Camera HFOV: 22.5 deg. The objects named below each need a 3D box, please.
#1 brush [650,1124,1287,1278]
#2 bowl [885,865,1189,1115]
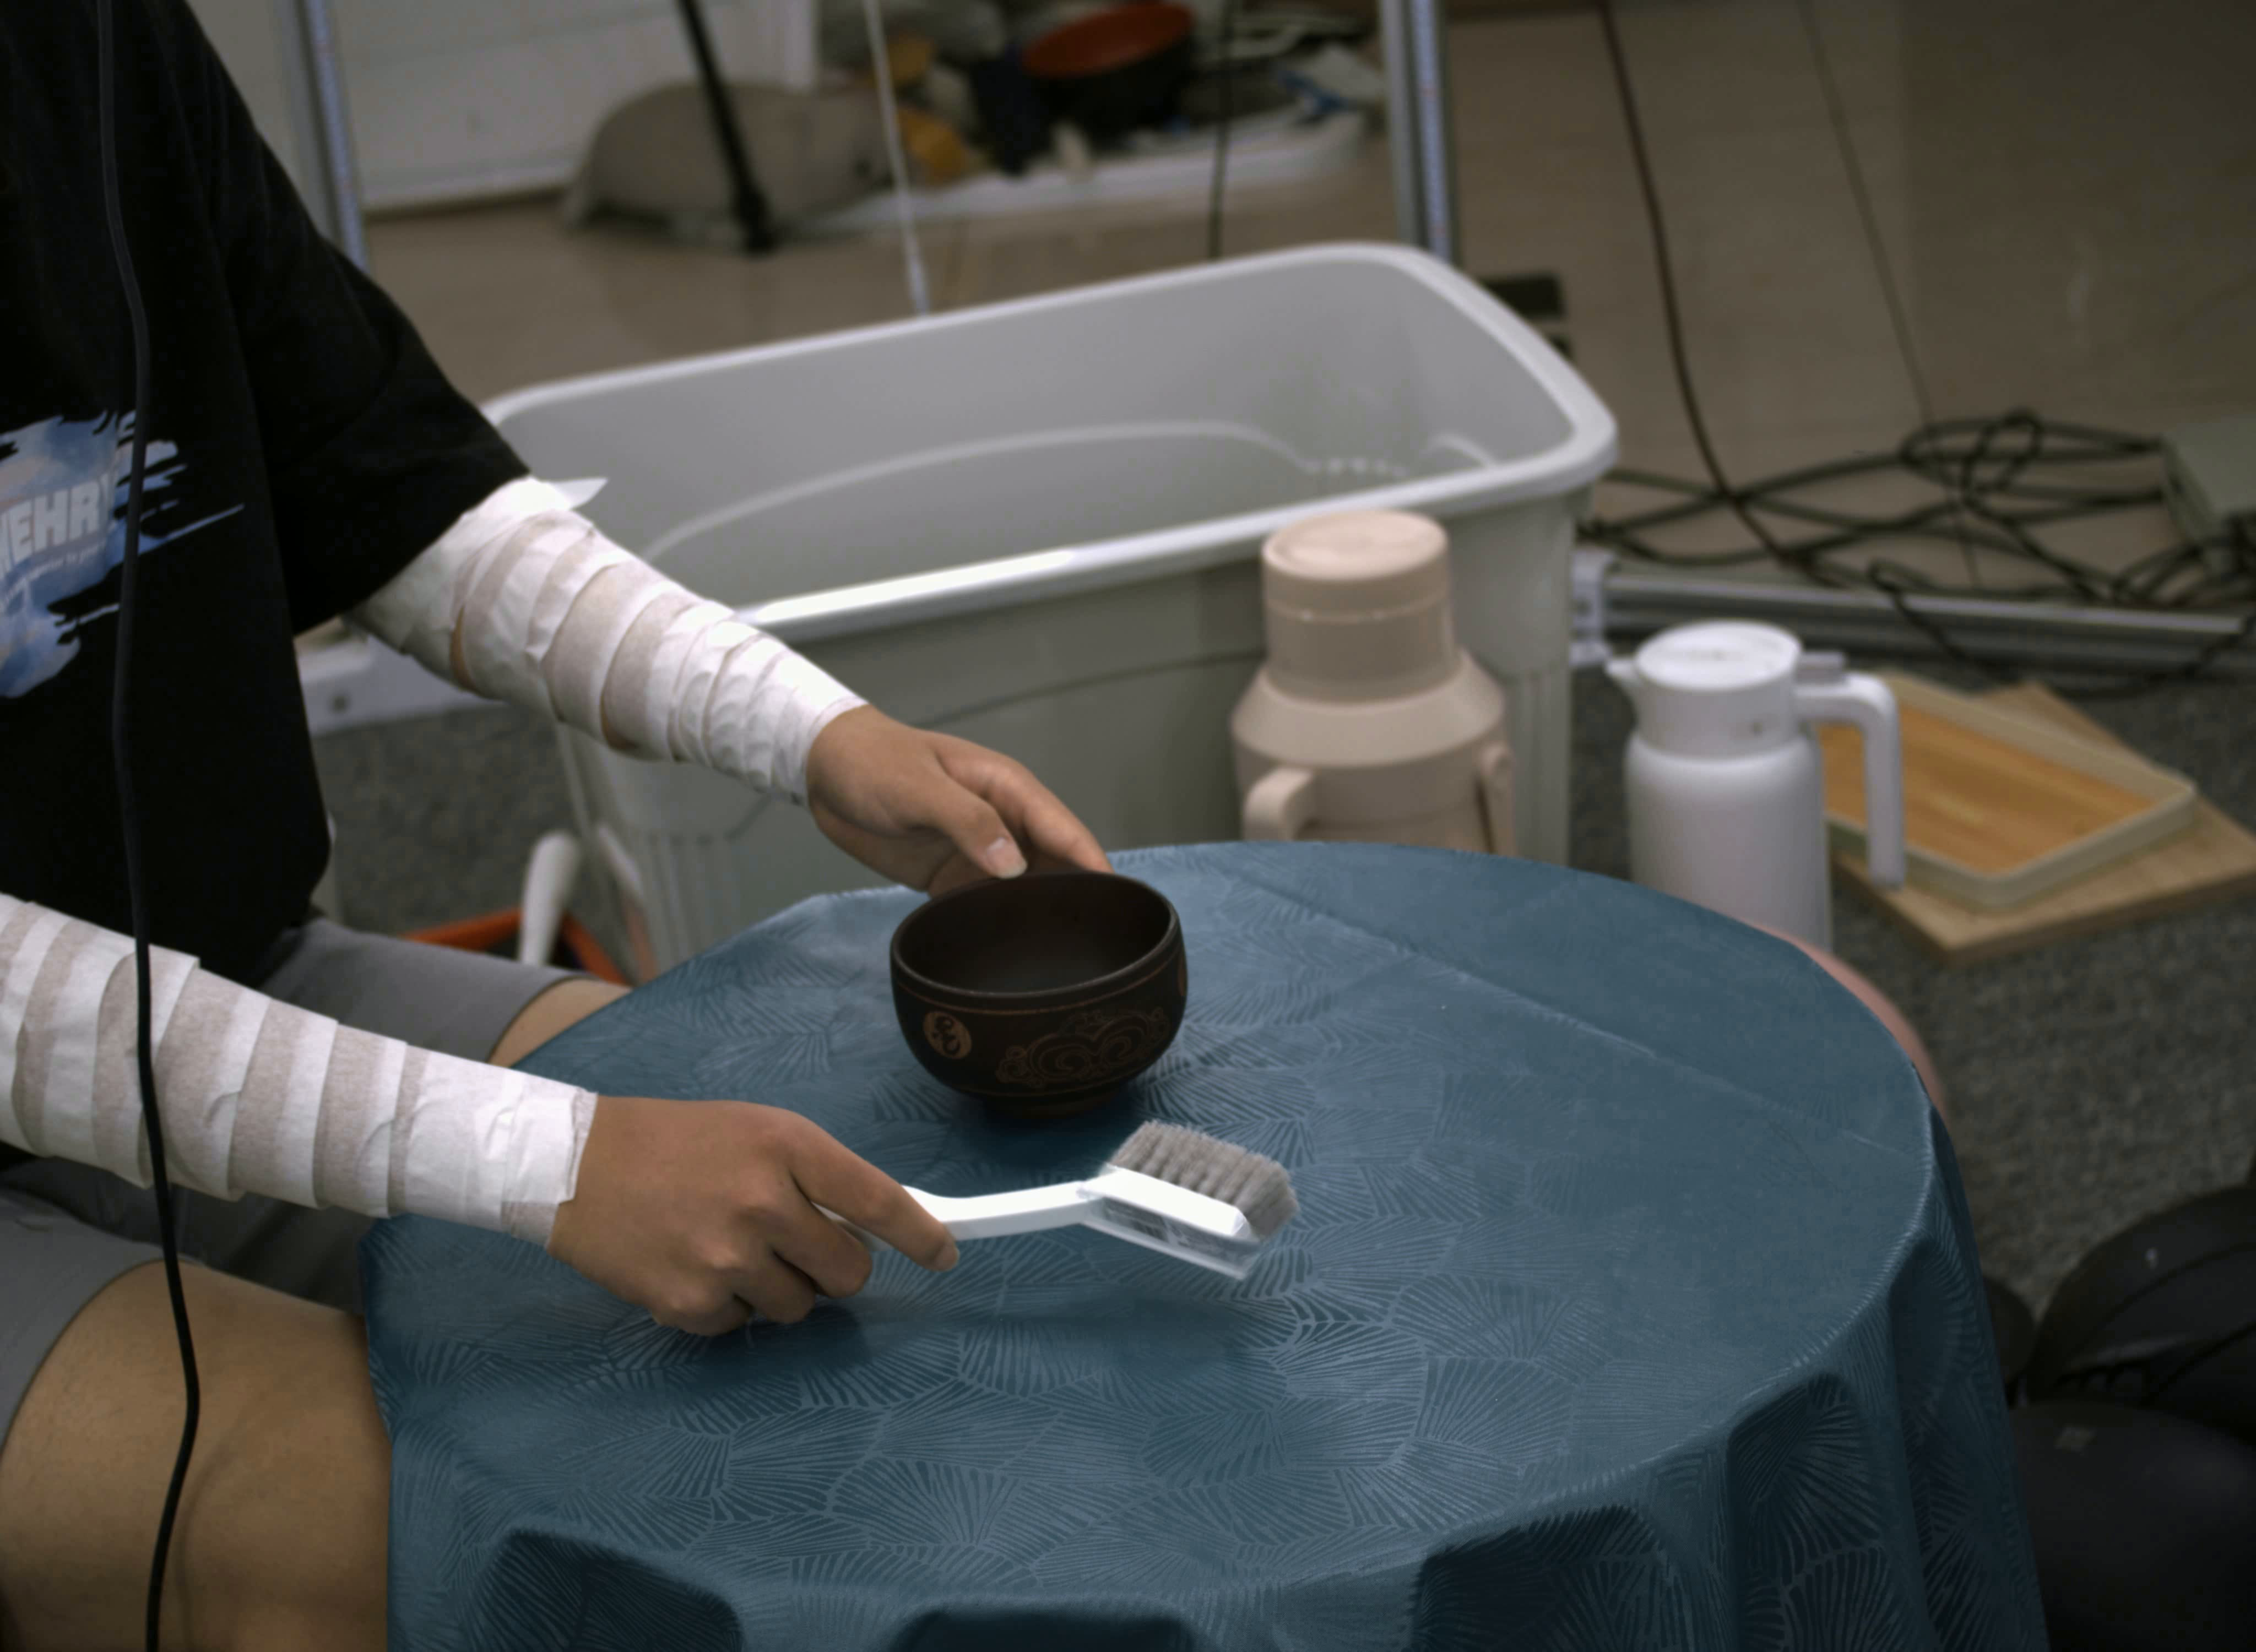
[{"bbox_3d":[-0.059,0.133,2.078,0.243,0.035,0.049,1,48,22],"label":"brush"},{"bbox_3d":[-0.033,0.070,2.218,0.118,0.071,0.116,-8,25,4],"label":"bowl"}]
